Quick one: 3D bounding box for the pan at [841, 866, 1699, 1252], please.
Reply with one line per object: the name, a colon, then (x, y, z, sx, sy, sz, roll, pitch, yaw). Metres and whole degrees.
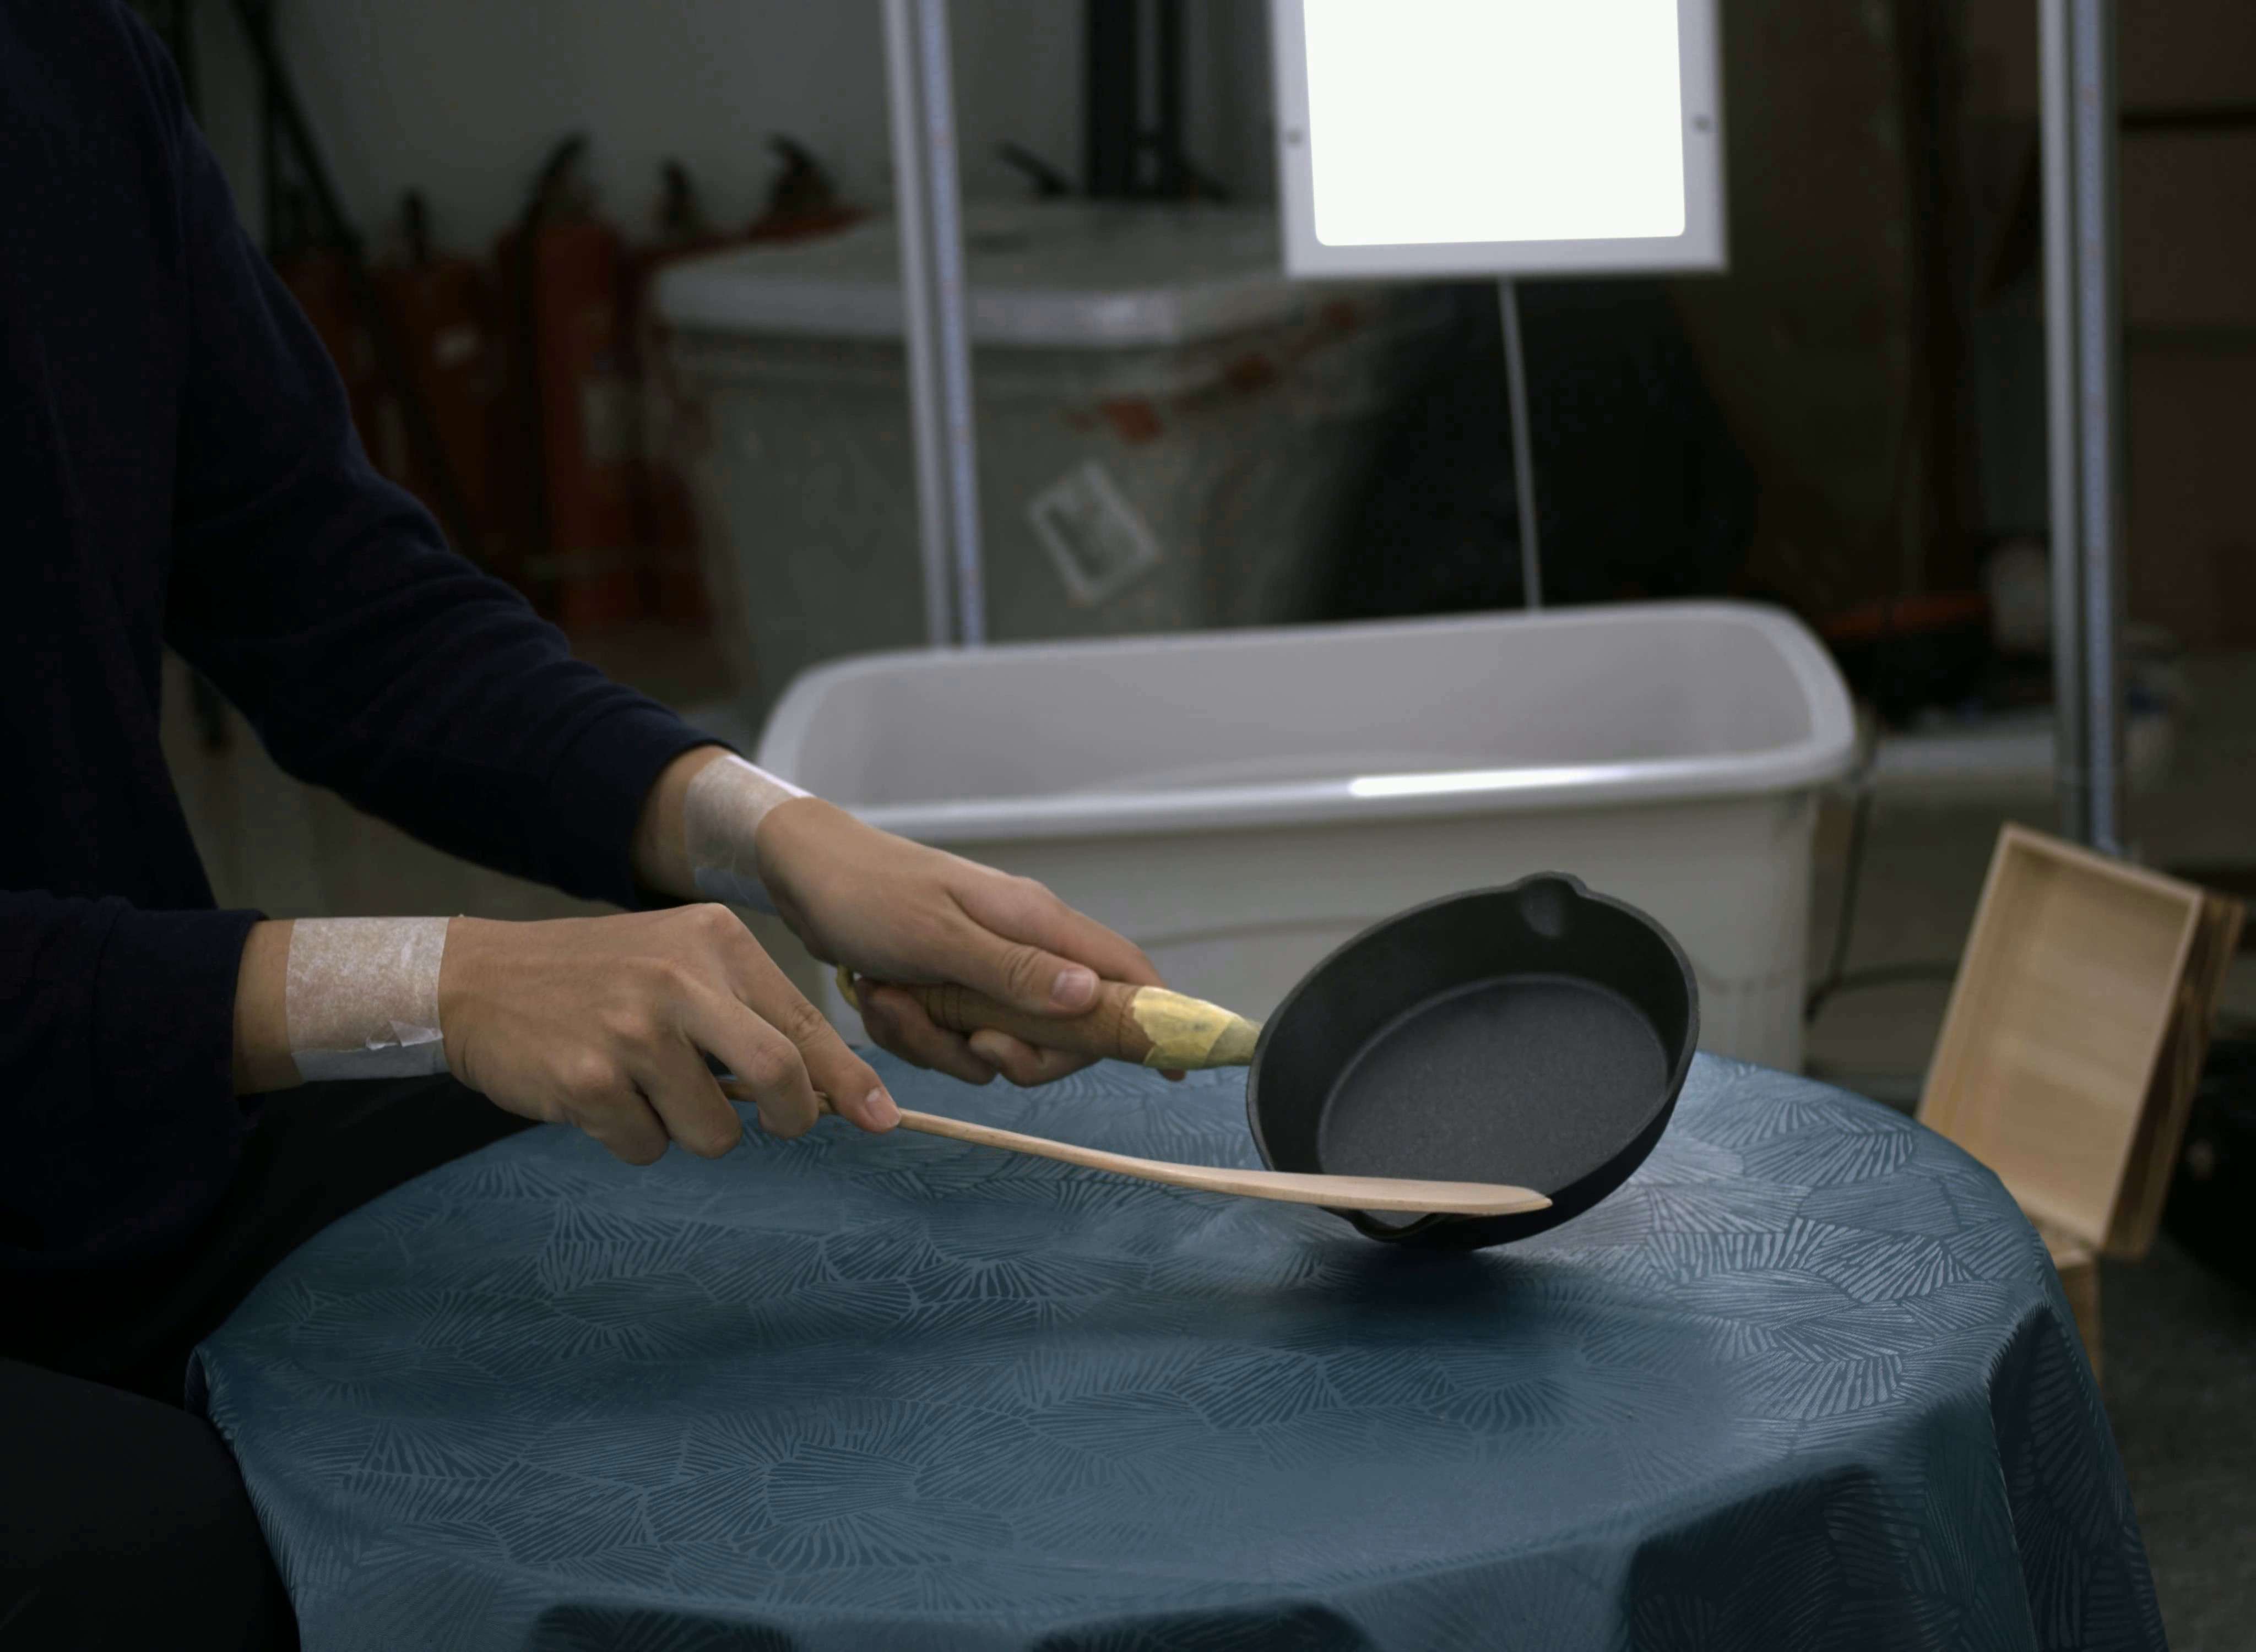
pan: (0.044, 0.072, 1.879, 0.330, 0.049, 0.166, 6, 49, 32)

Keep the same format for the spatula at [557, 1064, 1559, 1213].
spatula: (-0.023, 0.100, 1.775, 0.328, 0.016, 0.079, 9, 1, 7)
